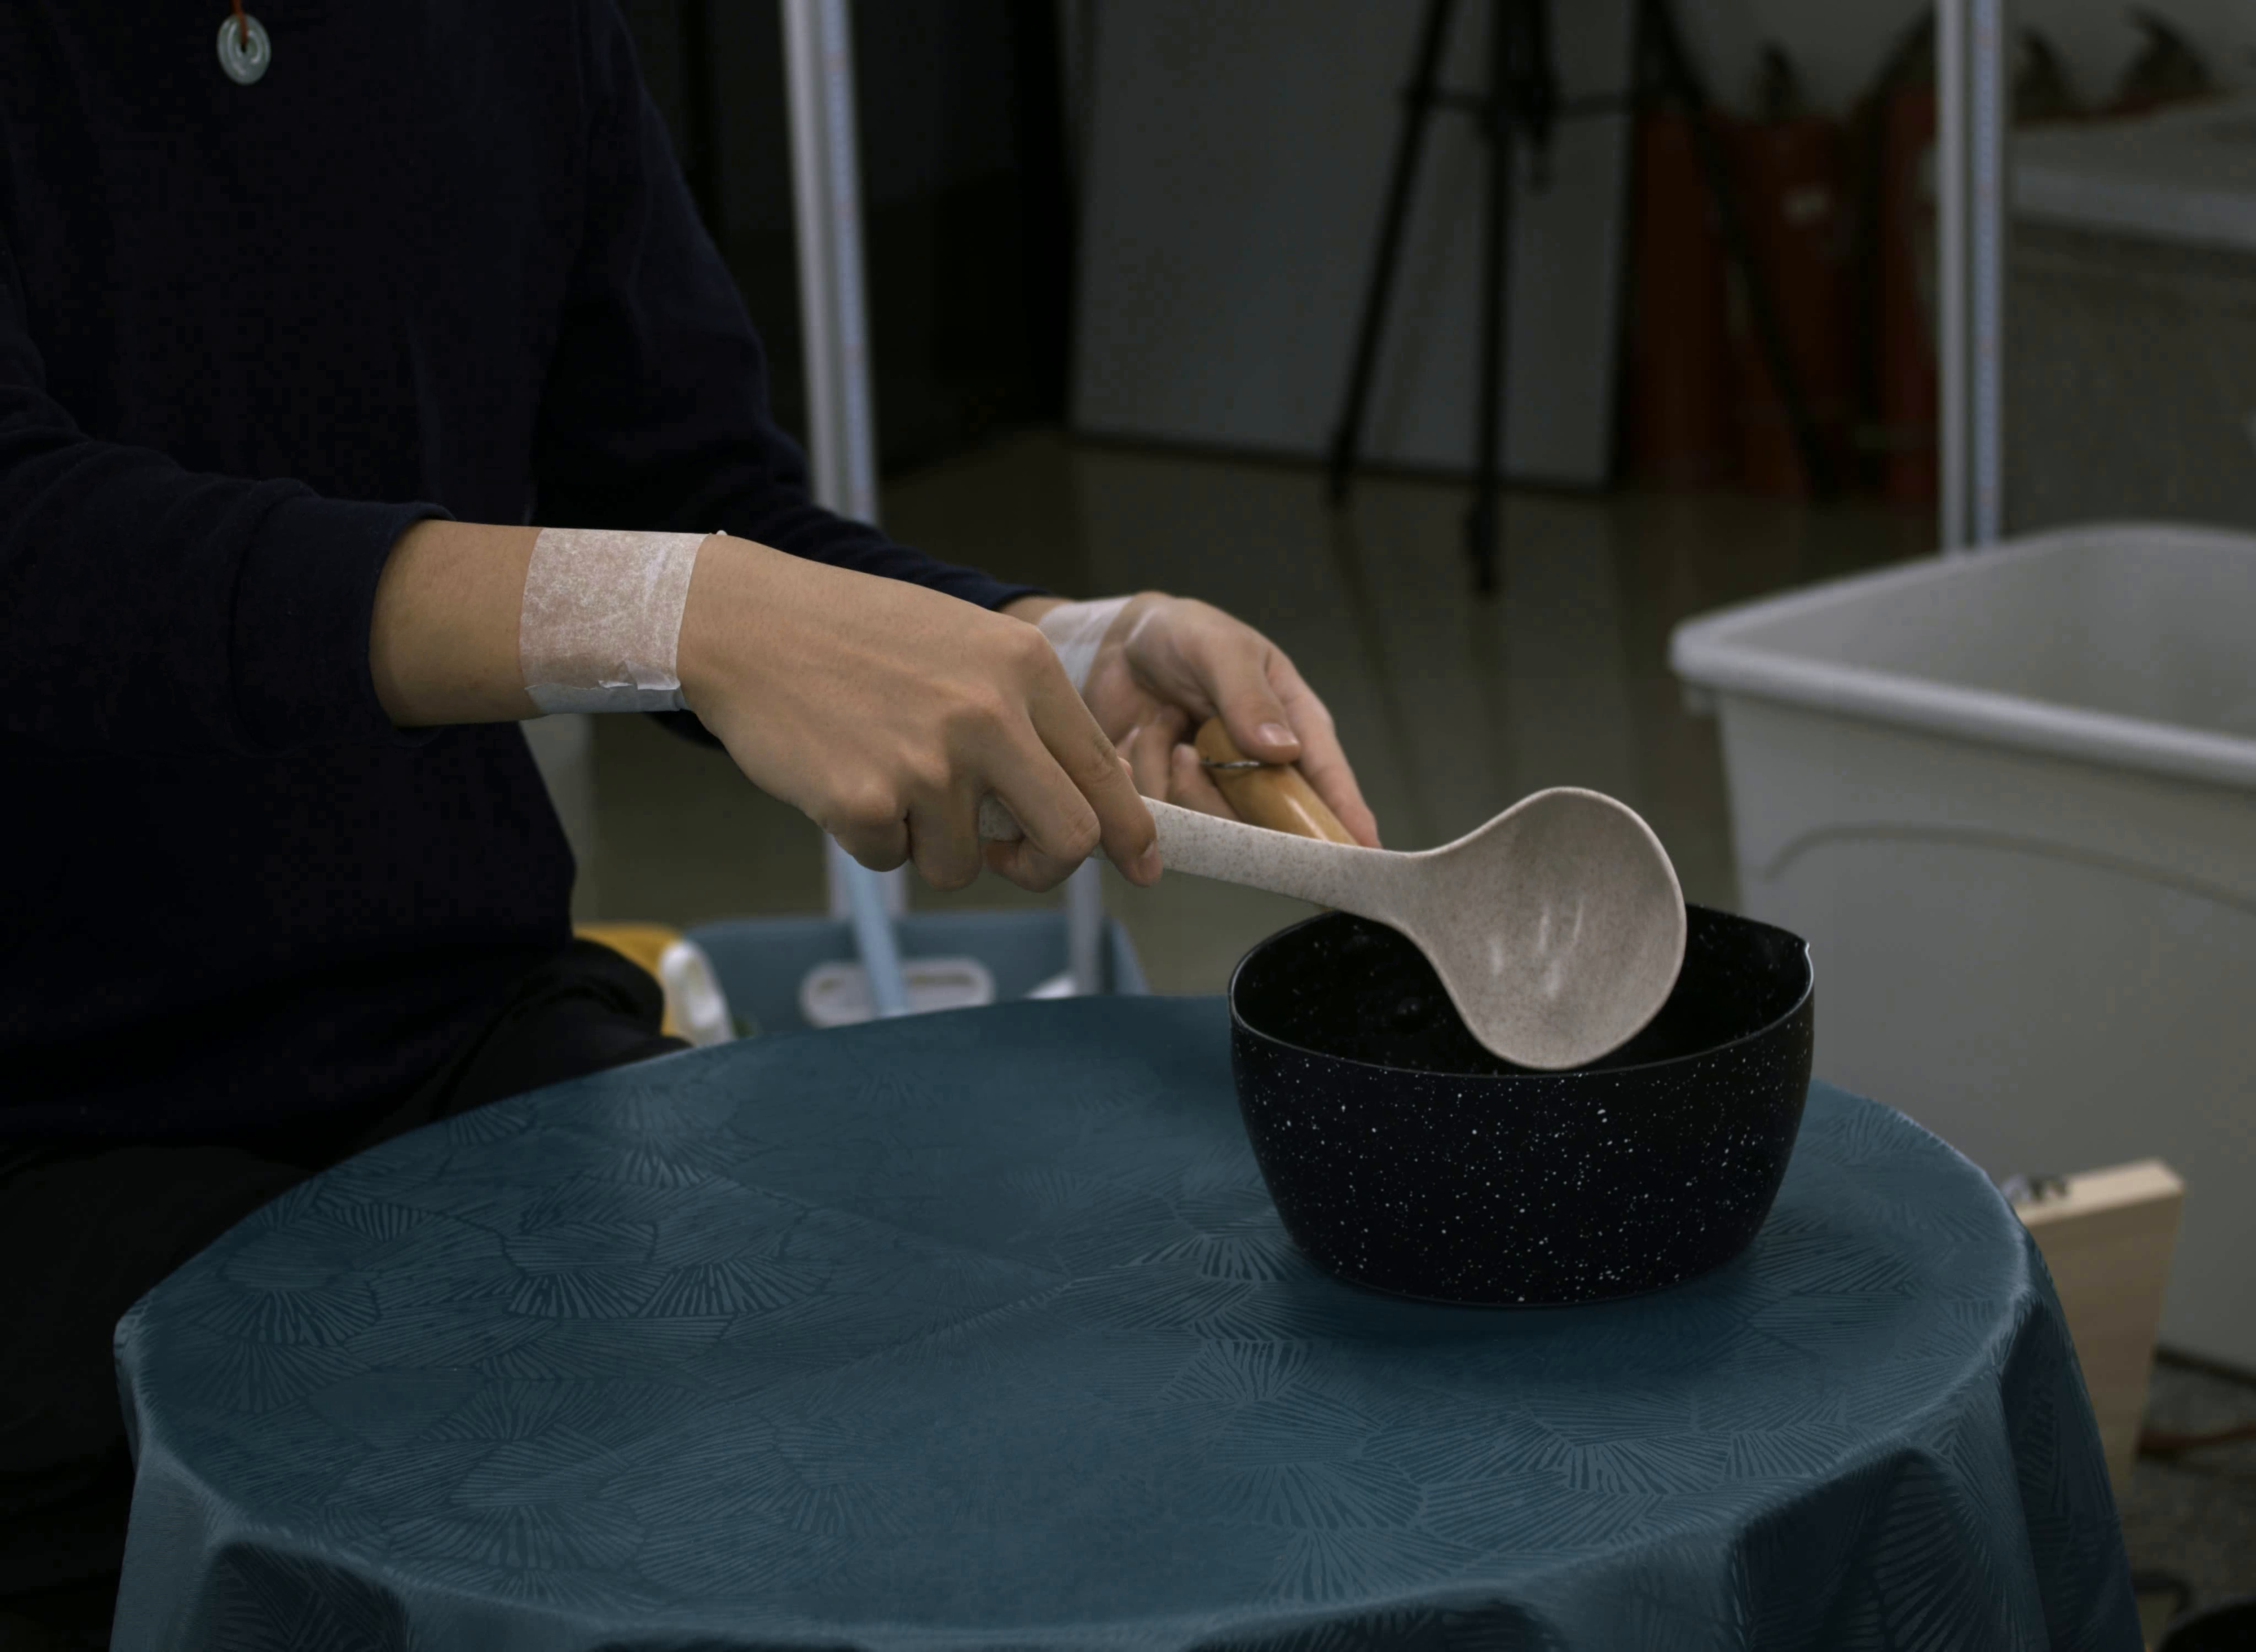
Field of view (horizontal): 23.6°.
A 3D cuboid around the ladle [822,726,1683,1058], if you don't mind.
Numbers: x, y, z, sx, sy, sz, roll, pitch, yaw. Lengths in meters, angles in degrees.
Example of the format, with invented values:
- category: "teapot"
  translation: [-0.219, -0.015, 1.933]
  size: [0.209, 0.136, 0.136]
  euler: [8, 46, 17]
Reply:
- category: "ladle"
  translation: [0.041, 0.011, 1.619]
  size: [0.269, 0.090, 0.070]
  euler: [12, 11, -27]

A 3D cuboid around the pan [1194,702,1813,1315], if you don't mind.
- category: "pan"
  translation: [0.093, 0.054, 1.757]
  size: [0.203, 0.109, 0.346]
  euler: [-10, 19, -20]
